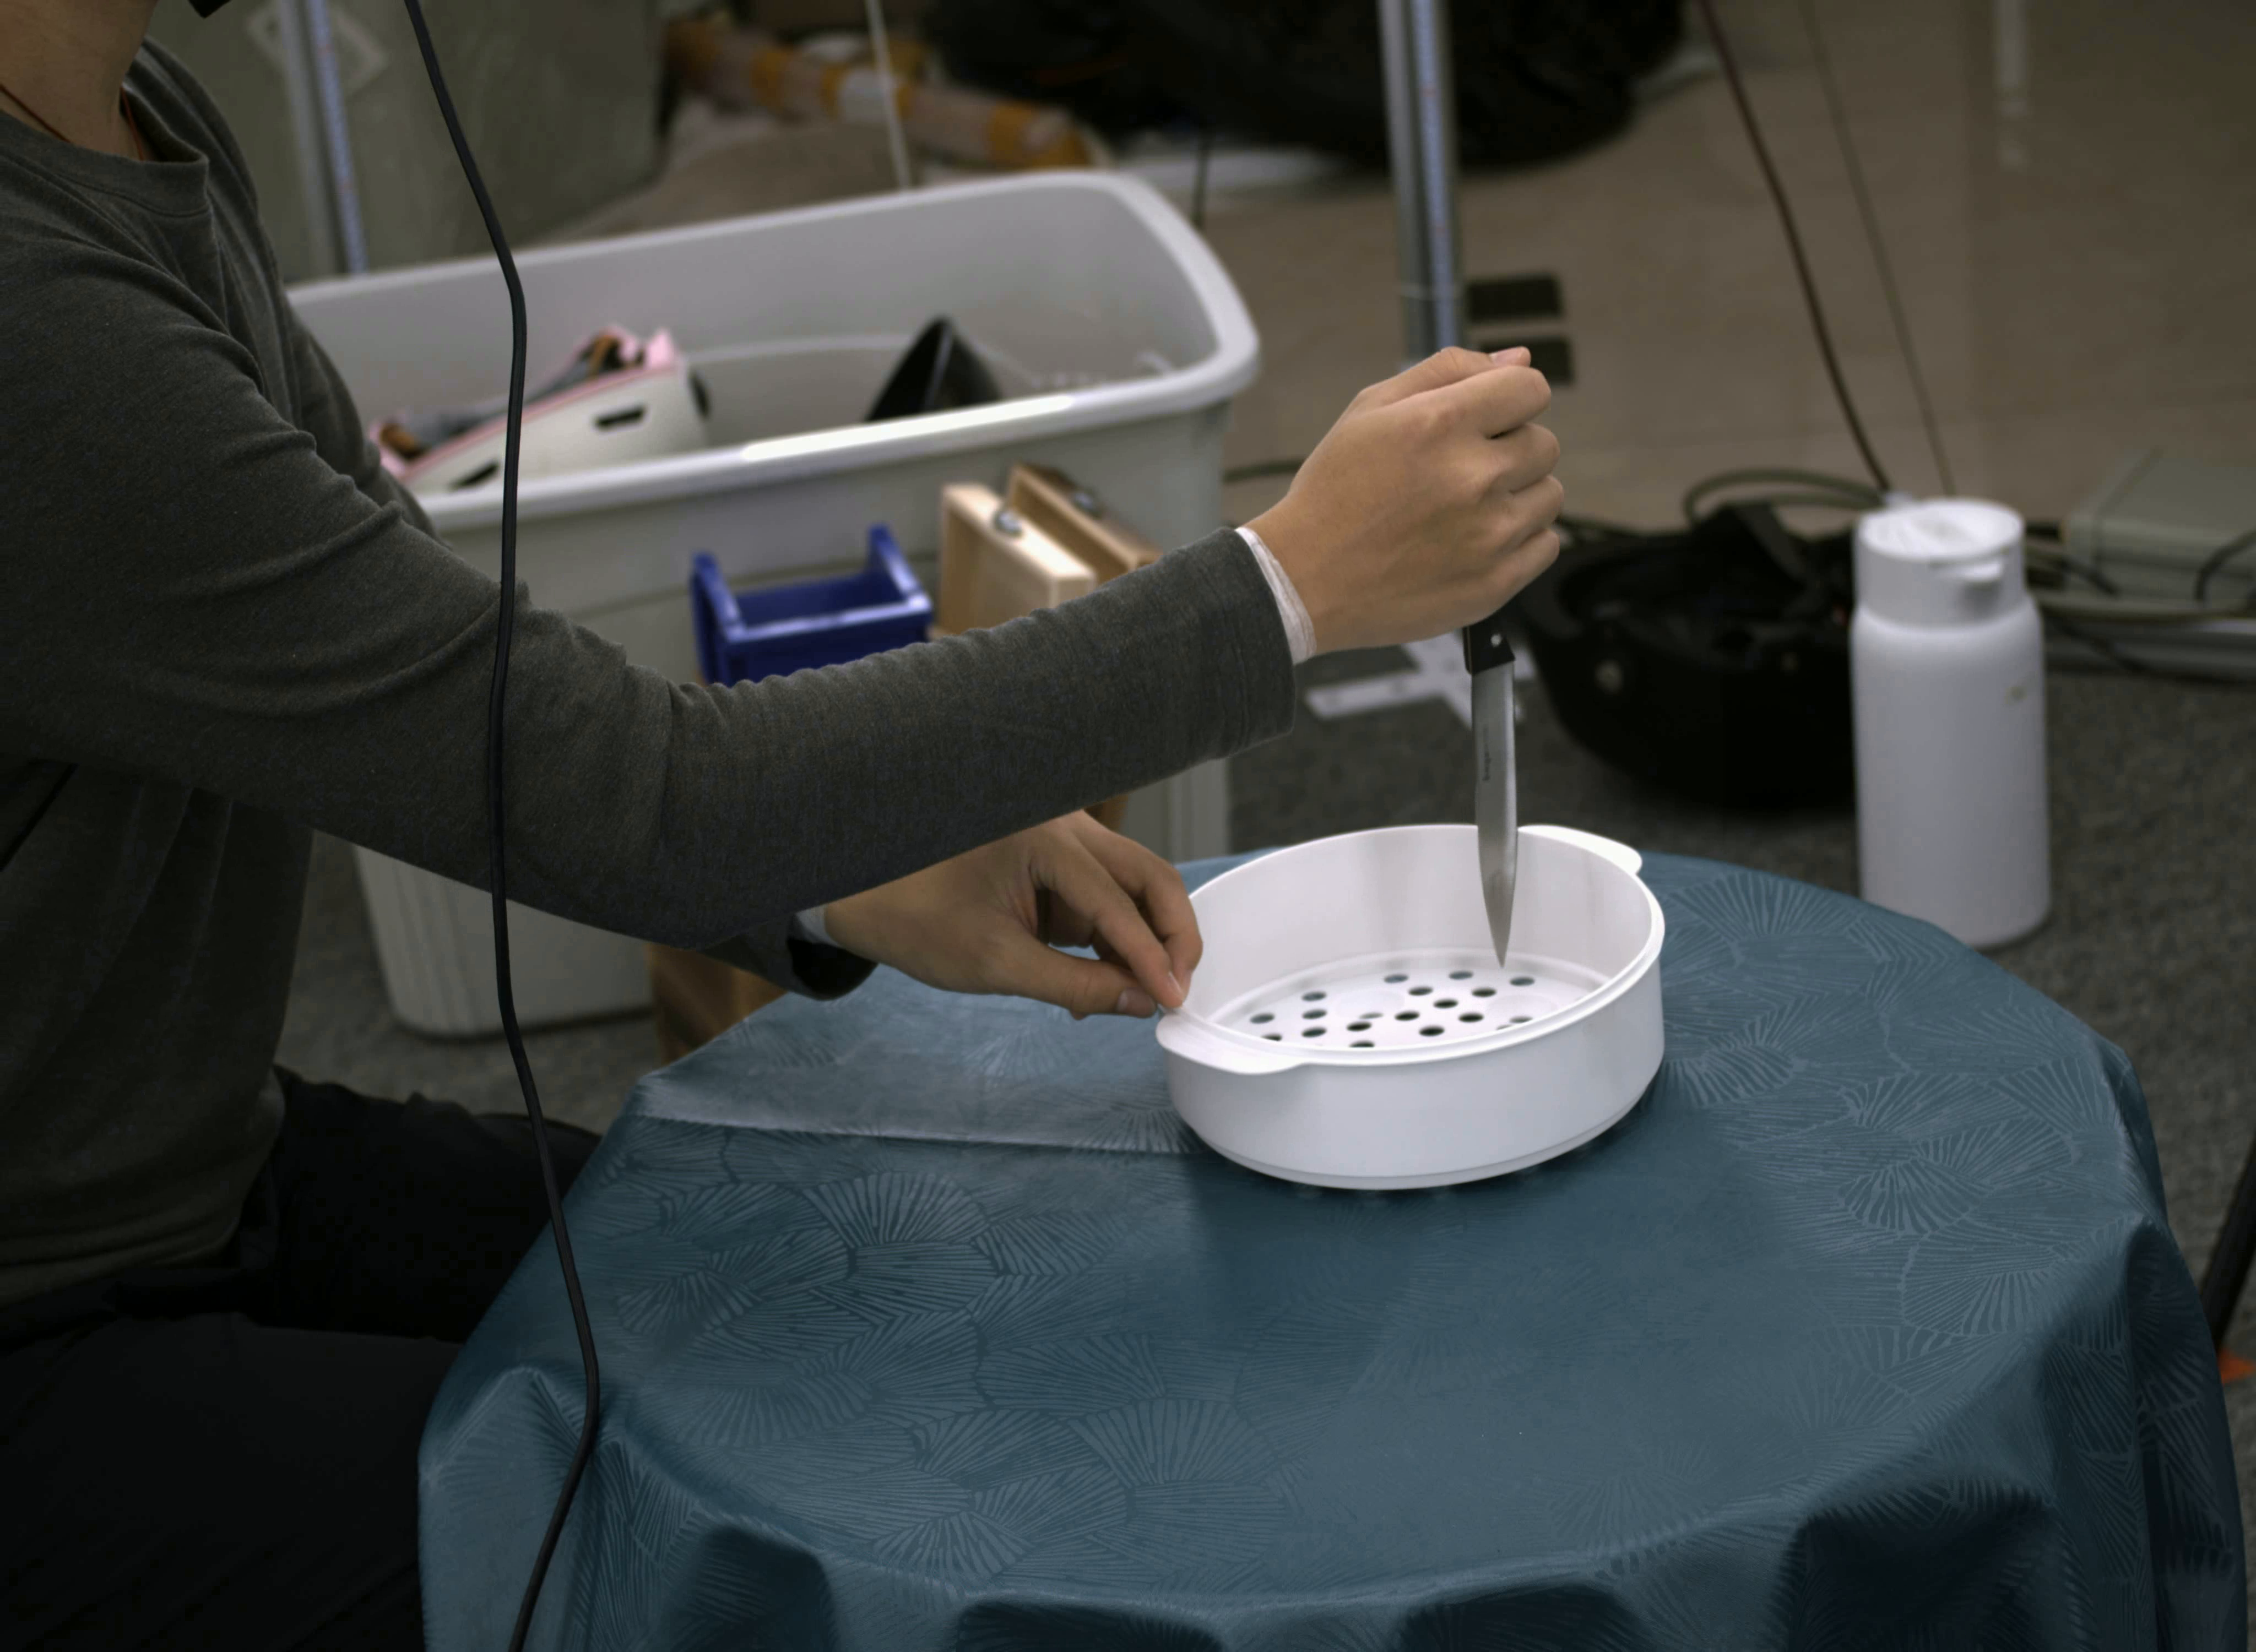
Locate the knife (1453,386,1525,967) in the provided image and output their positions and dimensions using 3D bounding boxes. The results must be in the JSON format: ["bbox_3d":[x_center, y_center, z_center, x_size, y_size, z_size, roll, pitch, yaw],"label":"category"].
[{"bbox_3d":[0.138,-0.053,2.165,0.024,0.242,0.016,-19,28,-28],"label":"knife"}]

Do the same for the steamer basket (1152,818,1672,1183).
[{"bbox_3d":[0.112,0.068,2.193,0.228,0.070,0.200,-27,31,-36],"label":"steamer basket"}]
